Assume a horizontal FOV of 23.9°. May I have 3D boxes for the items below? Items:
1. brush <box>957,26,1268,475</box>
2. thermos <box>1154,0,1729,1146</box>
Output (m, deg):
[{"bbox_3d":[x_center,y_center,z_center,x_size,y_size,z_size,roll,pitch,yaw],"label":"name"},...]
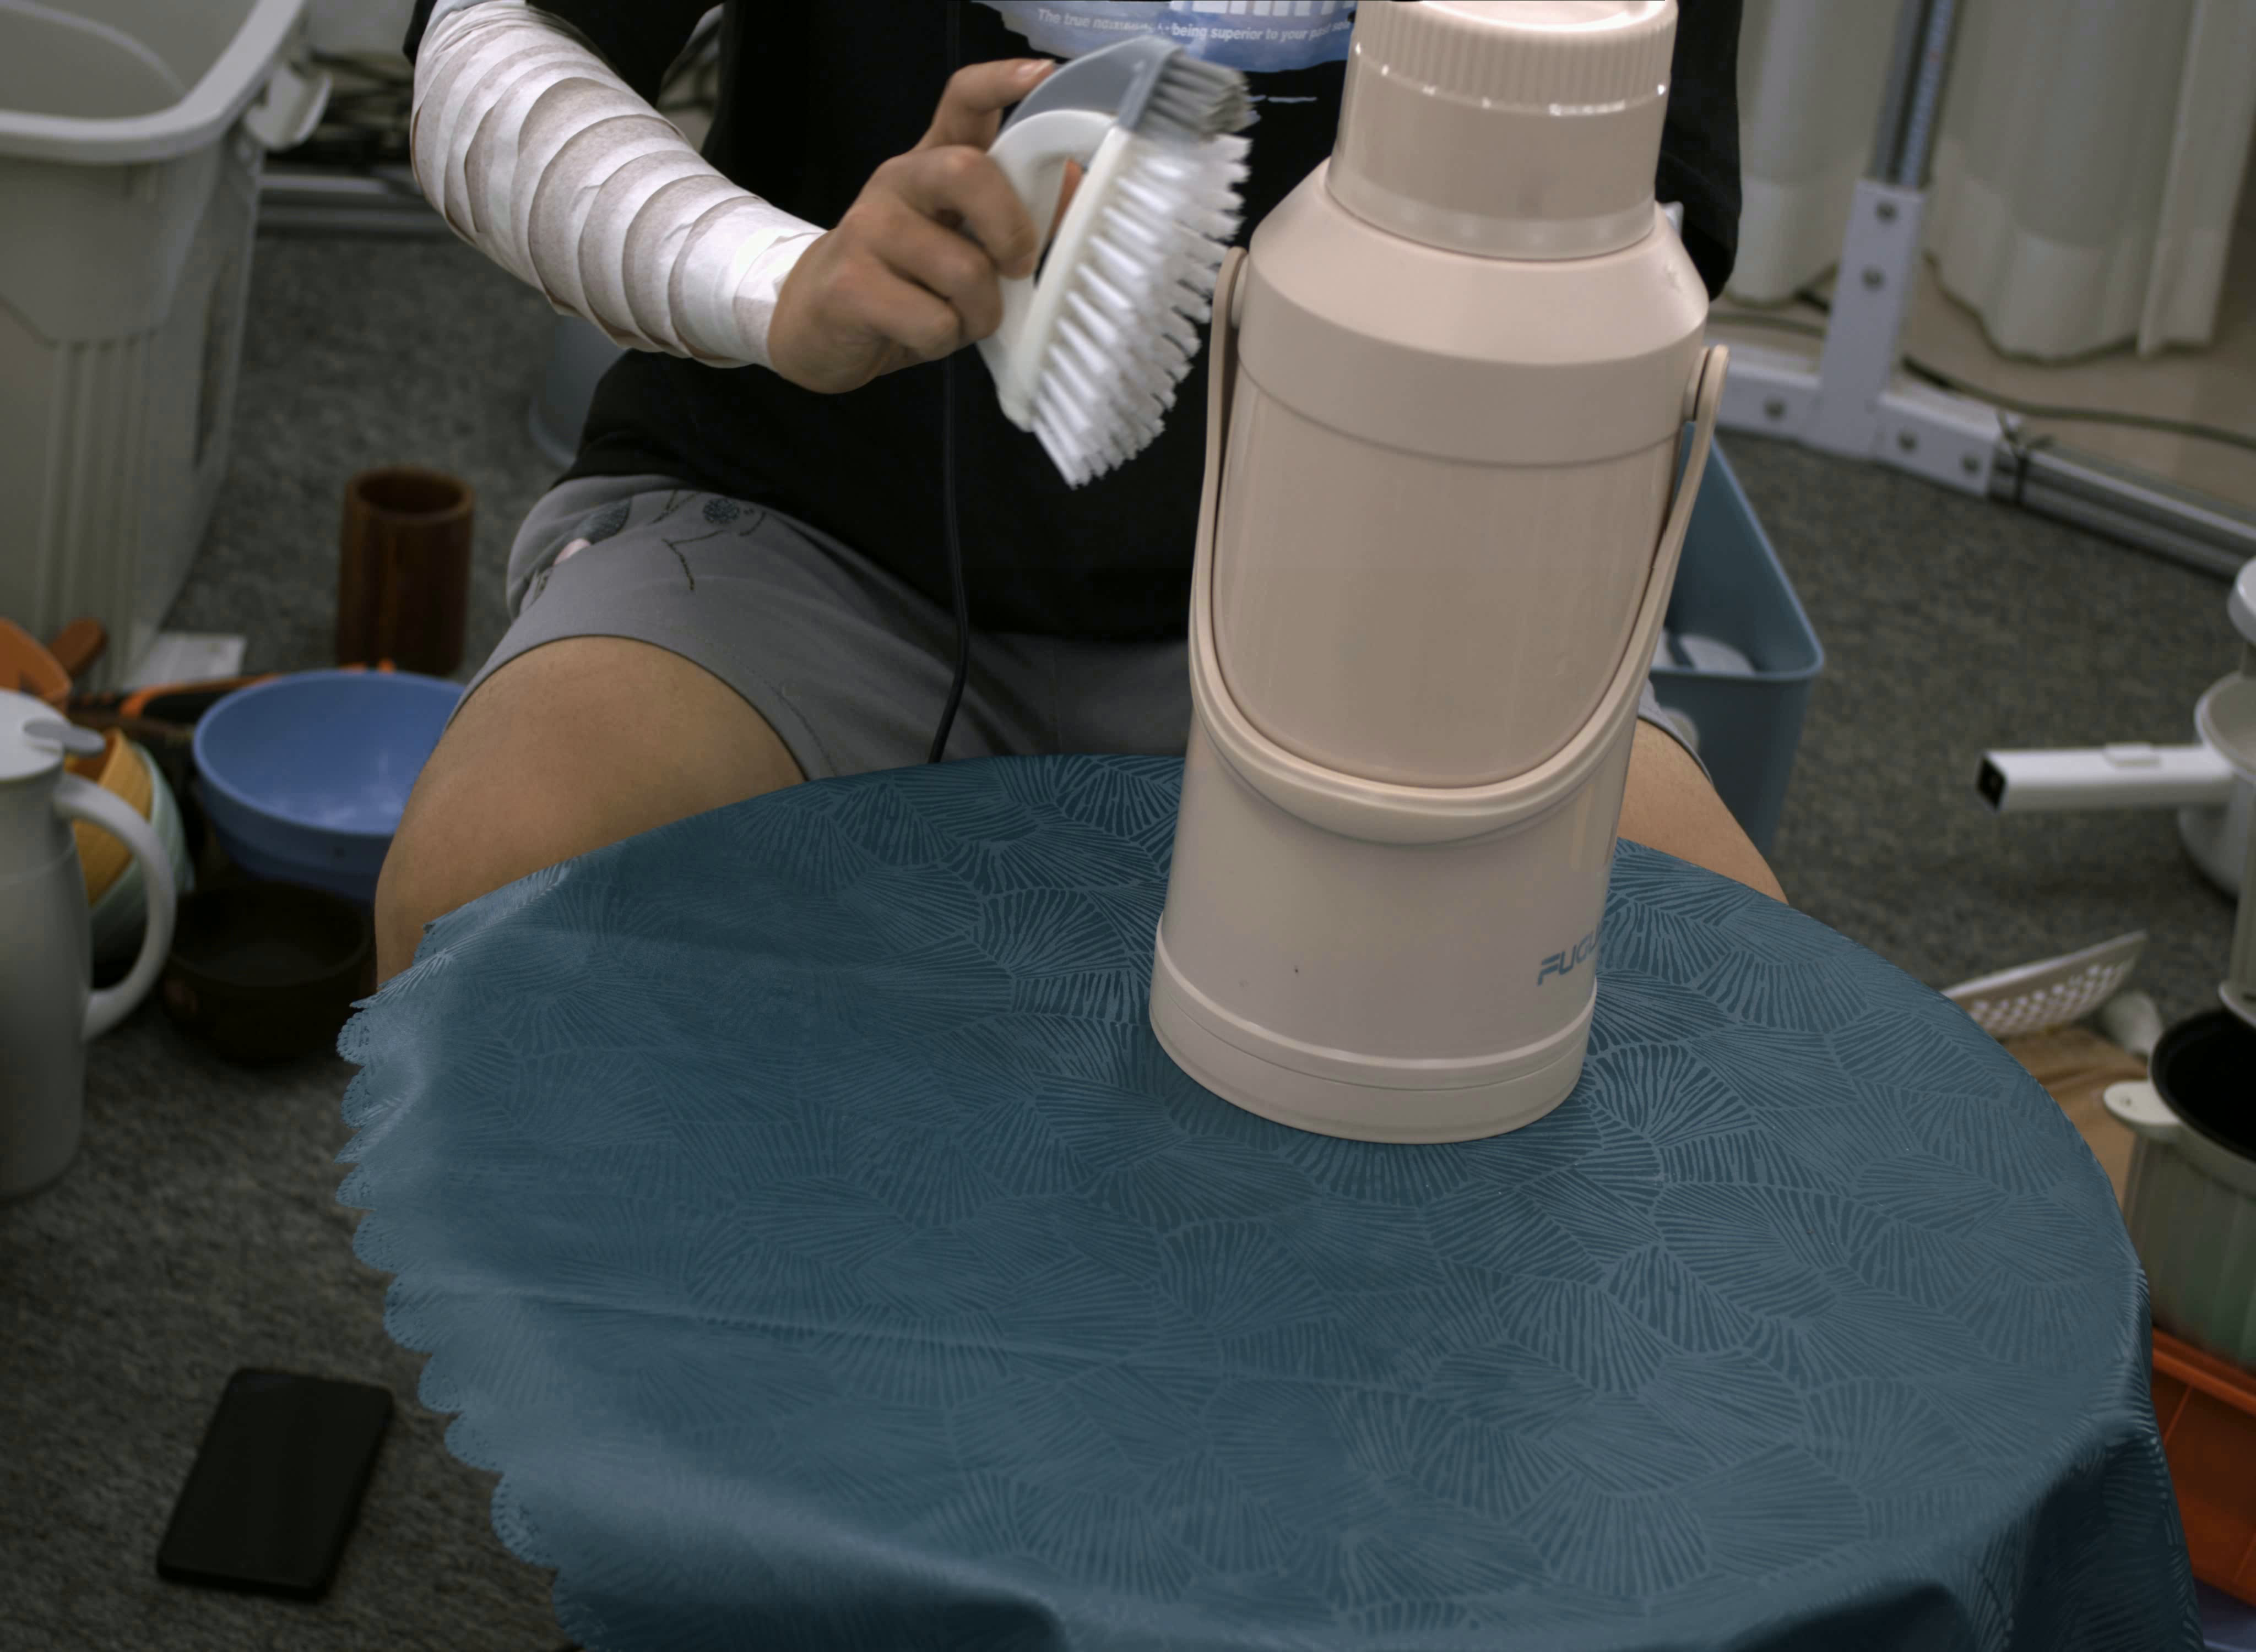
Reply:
[{"bbox_3d":[-0.009,-0.214,1.843,0.094,0.175,0.061,39,47,17],"label":"brush"},{"bbox_3d":[0.113,-0.106,1.845,0.175,0.405,0.207,11,26,11],"label":"thermos"}]
